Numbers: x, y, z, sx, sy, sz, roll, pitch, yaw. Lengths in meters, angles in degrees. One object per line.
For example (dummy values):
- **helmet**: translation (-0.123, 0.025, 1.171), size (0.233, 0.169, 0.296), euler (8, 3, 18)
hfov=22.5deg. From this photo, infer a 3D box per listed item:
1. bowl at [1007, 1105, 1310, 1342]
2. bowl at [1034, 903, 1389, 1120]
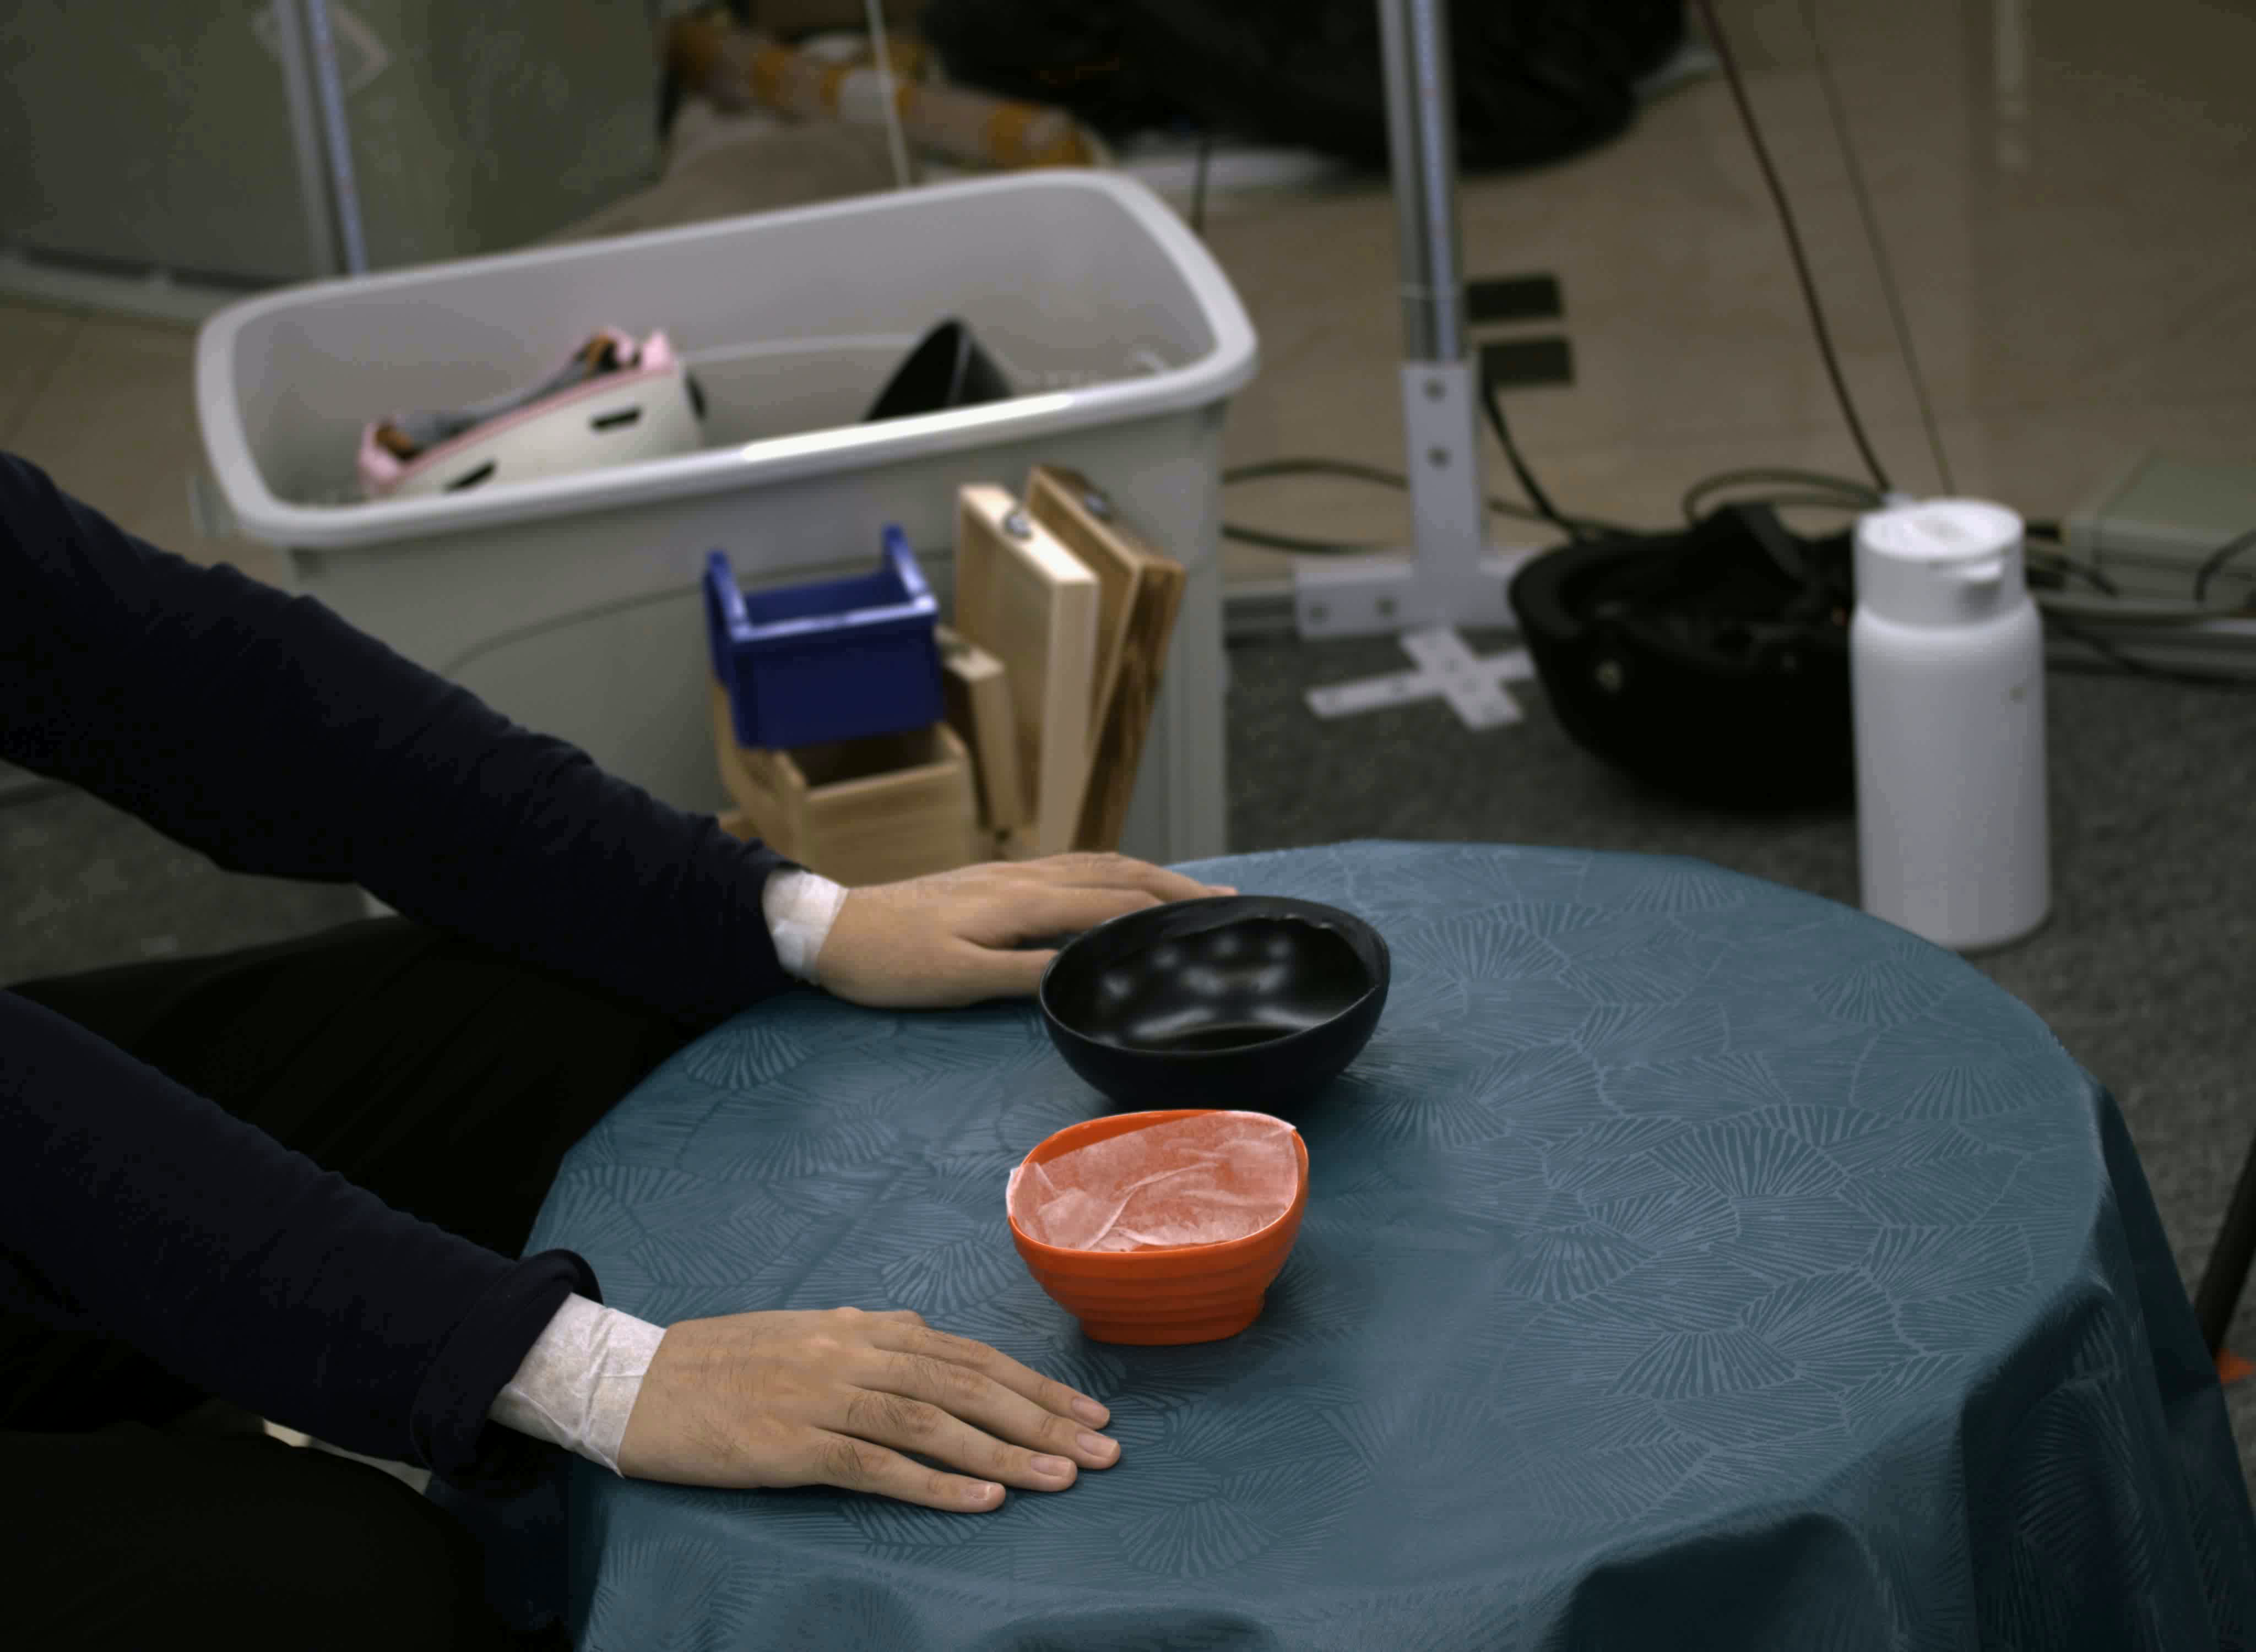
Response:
- **bowl**: translation (0.013, 0.149, 2.063), size (0.119, 0.052, 0.117), euler (-4, 26, 2)
- **bowl**: translation (0.036, 0.081, 2.215), size (0.140, 0.050, 0.138), euler (-9, 23, 4)
